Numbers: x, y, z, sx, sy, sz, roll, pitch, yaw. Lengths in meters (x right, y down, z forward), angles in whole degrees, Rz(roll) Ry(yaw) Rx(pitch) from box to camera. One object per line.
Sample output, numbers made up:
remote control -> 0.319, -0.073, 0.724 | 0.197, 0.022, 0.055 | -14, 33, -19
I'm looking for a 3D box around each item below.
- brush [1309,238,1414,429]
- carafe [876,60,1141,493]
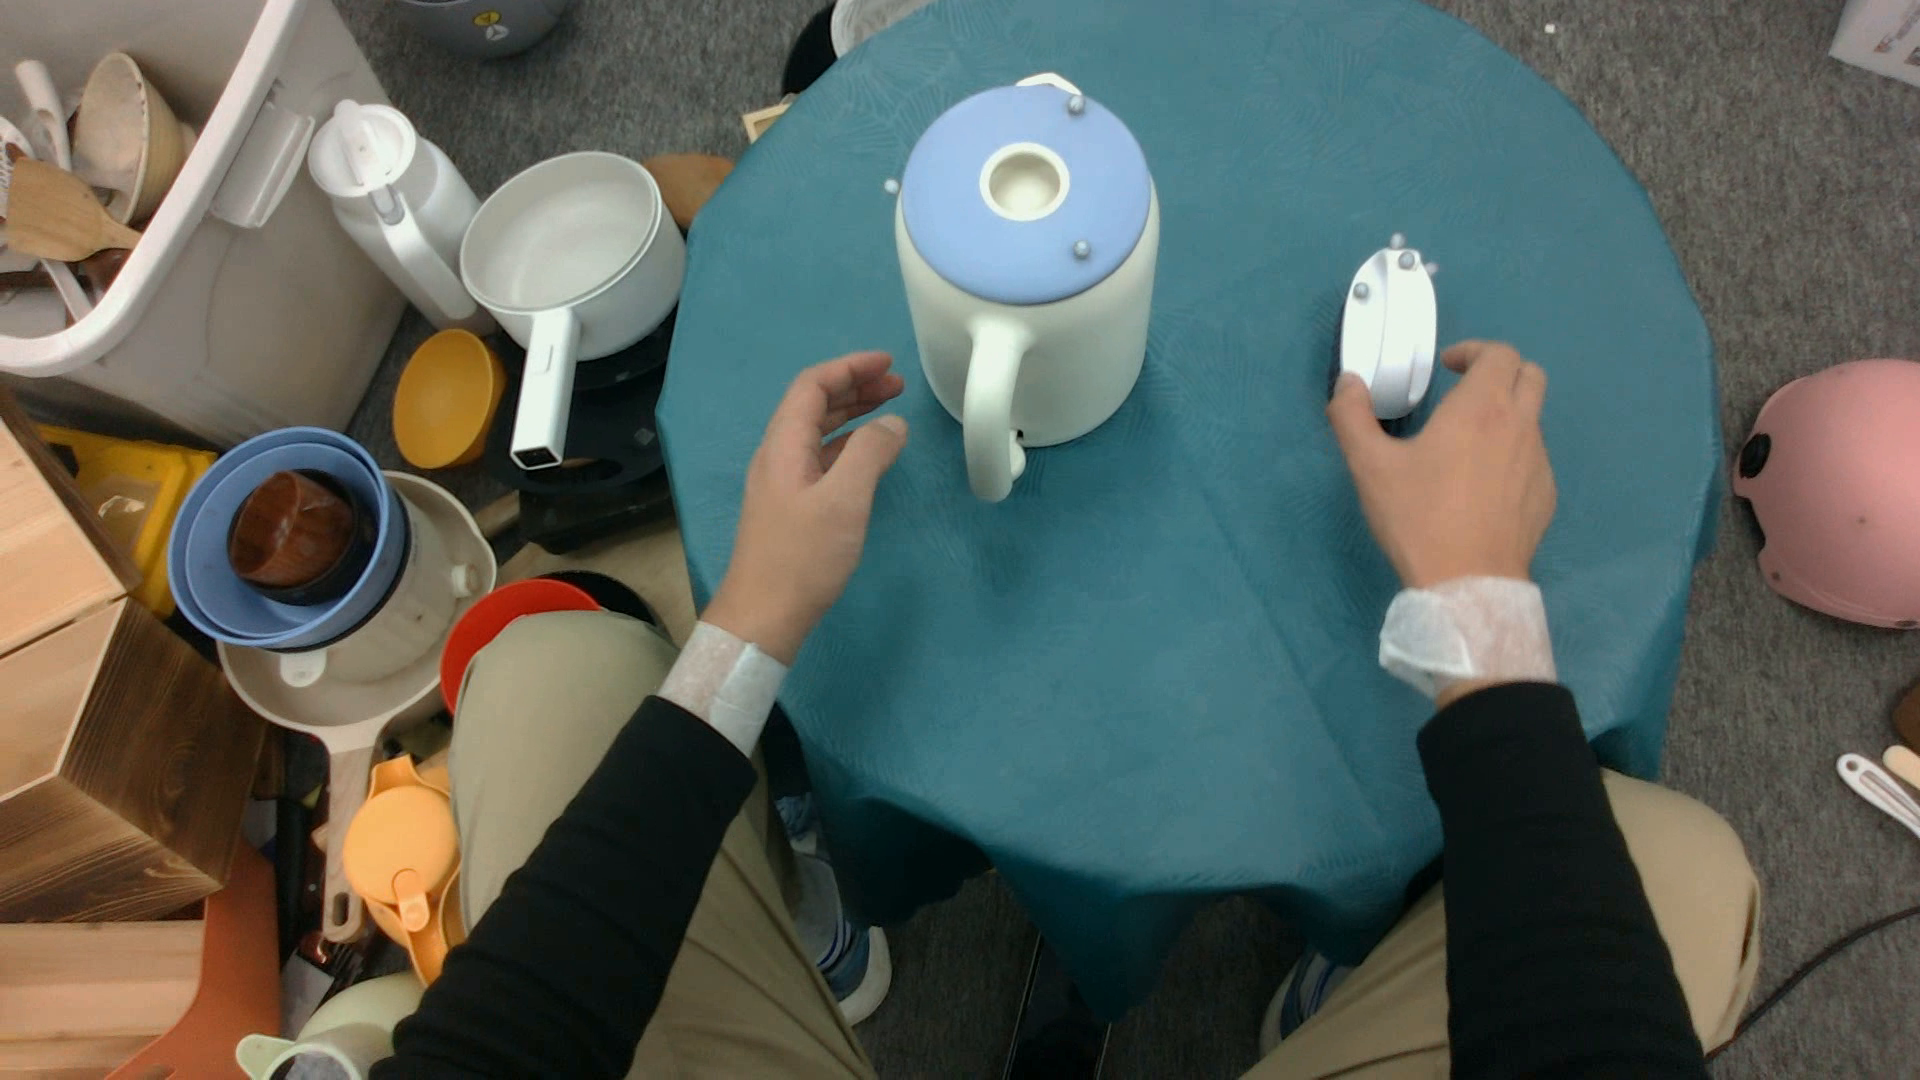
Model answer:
brush -> 0.226, -0.120, 0.761 | 0.050, 0.072, 0.099 | 9, 72, 6
carafe -> 0.022, -0.122, 0.721 | 0.132, 0.182, 0.191 | 8, 74, 6
